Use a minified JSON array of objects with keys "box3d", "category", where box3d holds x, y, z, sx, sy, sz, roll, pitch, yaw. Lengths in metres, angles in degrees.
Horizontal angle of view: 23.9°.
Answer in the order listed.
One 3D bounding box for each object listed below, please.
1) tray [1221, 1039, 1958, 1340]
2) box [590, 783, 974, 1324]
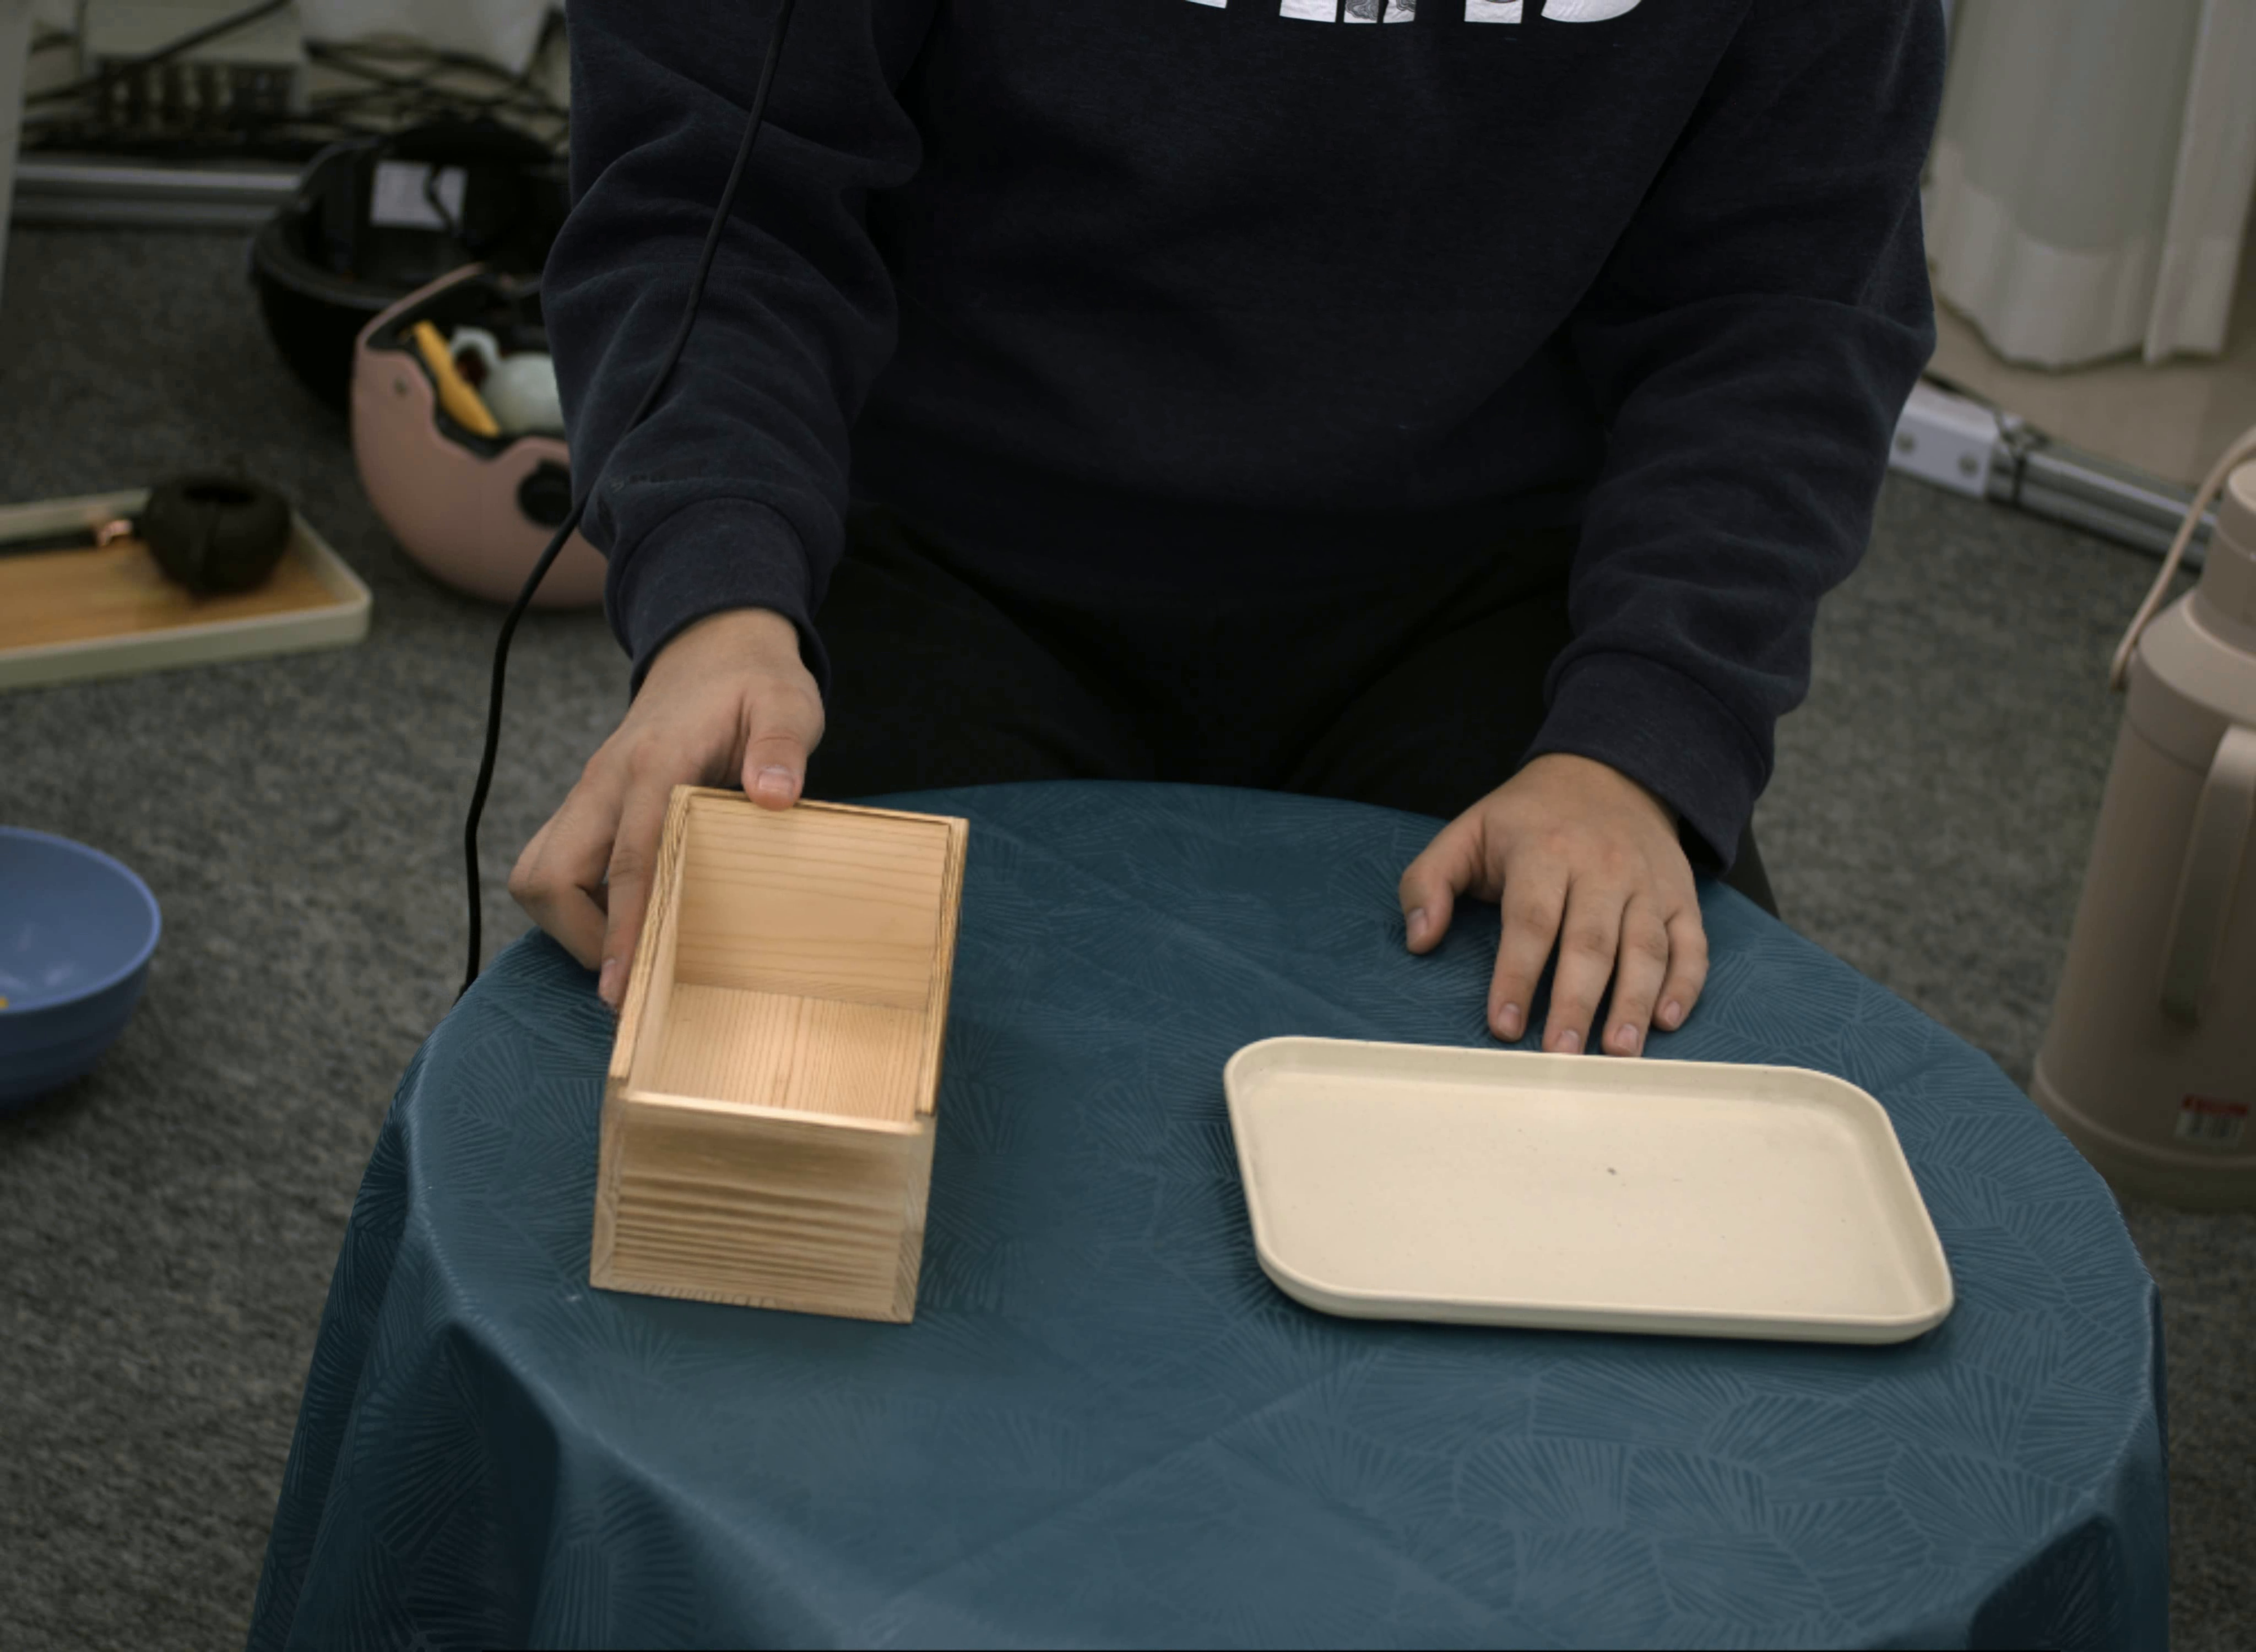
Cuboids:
[{"box3d":[0.155,0.125,1.821,0.238,0.017,0.172,3,26,-7],"category":"tray"},{"box3d":[-0.114,0.073,1.791,0.107,0.080,0.212,7,26,-2],"category":"box"}]
